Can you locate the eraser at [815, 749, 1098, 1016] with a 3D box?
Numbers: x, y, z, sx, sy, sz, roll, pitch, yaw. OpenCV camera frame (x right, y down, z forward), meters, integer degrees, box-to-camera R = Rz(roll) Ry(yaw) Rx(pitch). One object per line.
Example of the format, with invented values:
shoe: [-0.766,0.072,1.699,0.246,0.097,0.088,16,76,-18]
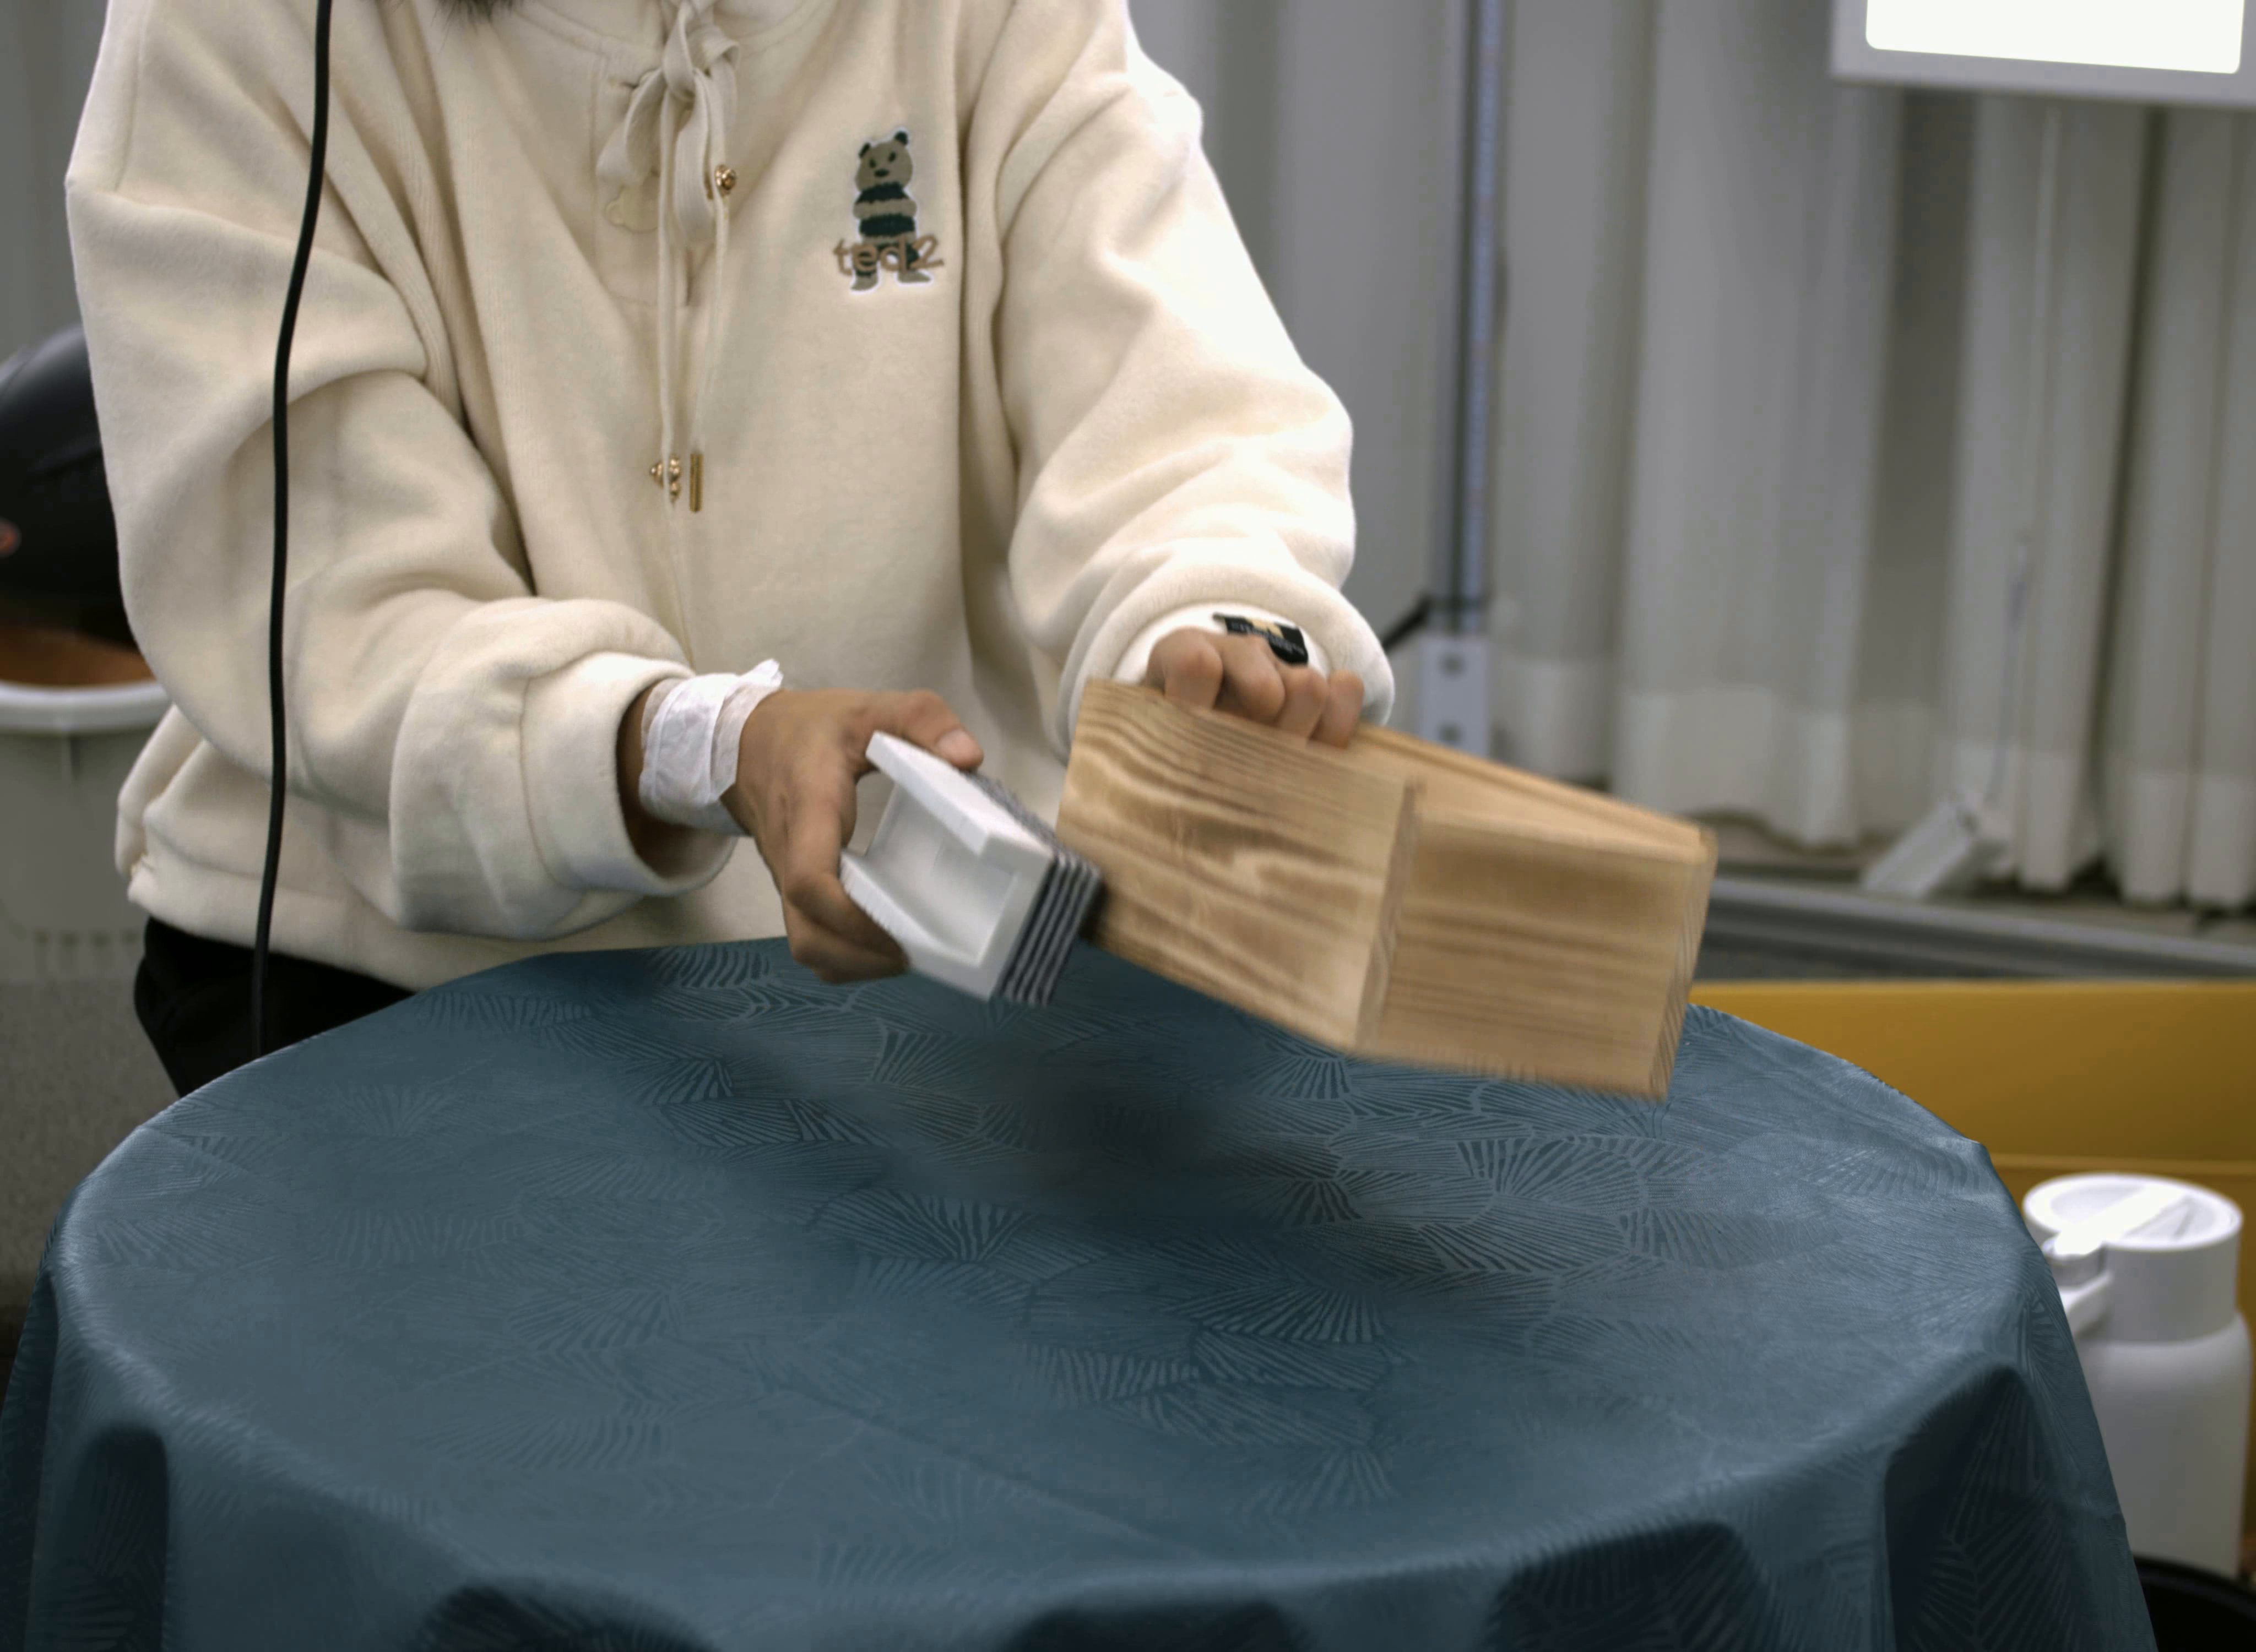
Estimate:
eraser: [-0.054,0.017,1.646,0.047,0.050,0.133,19,5,-23]

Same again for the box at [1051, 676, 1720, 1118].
box: [0.070,0.019,1.568,0.108,0.080,0.209,10,6,-28]
